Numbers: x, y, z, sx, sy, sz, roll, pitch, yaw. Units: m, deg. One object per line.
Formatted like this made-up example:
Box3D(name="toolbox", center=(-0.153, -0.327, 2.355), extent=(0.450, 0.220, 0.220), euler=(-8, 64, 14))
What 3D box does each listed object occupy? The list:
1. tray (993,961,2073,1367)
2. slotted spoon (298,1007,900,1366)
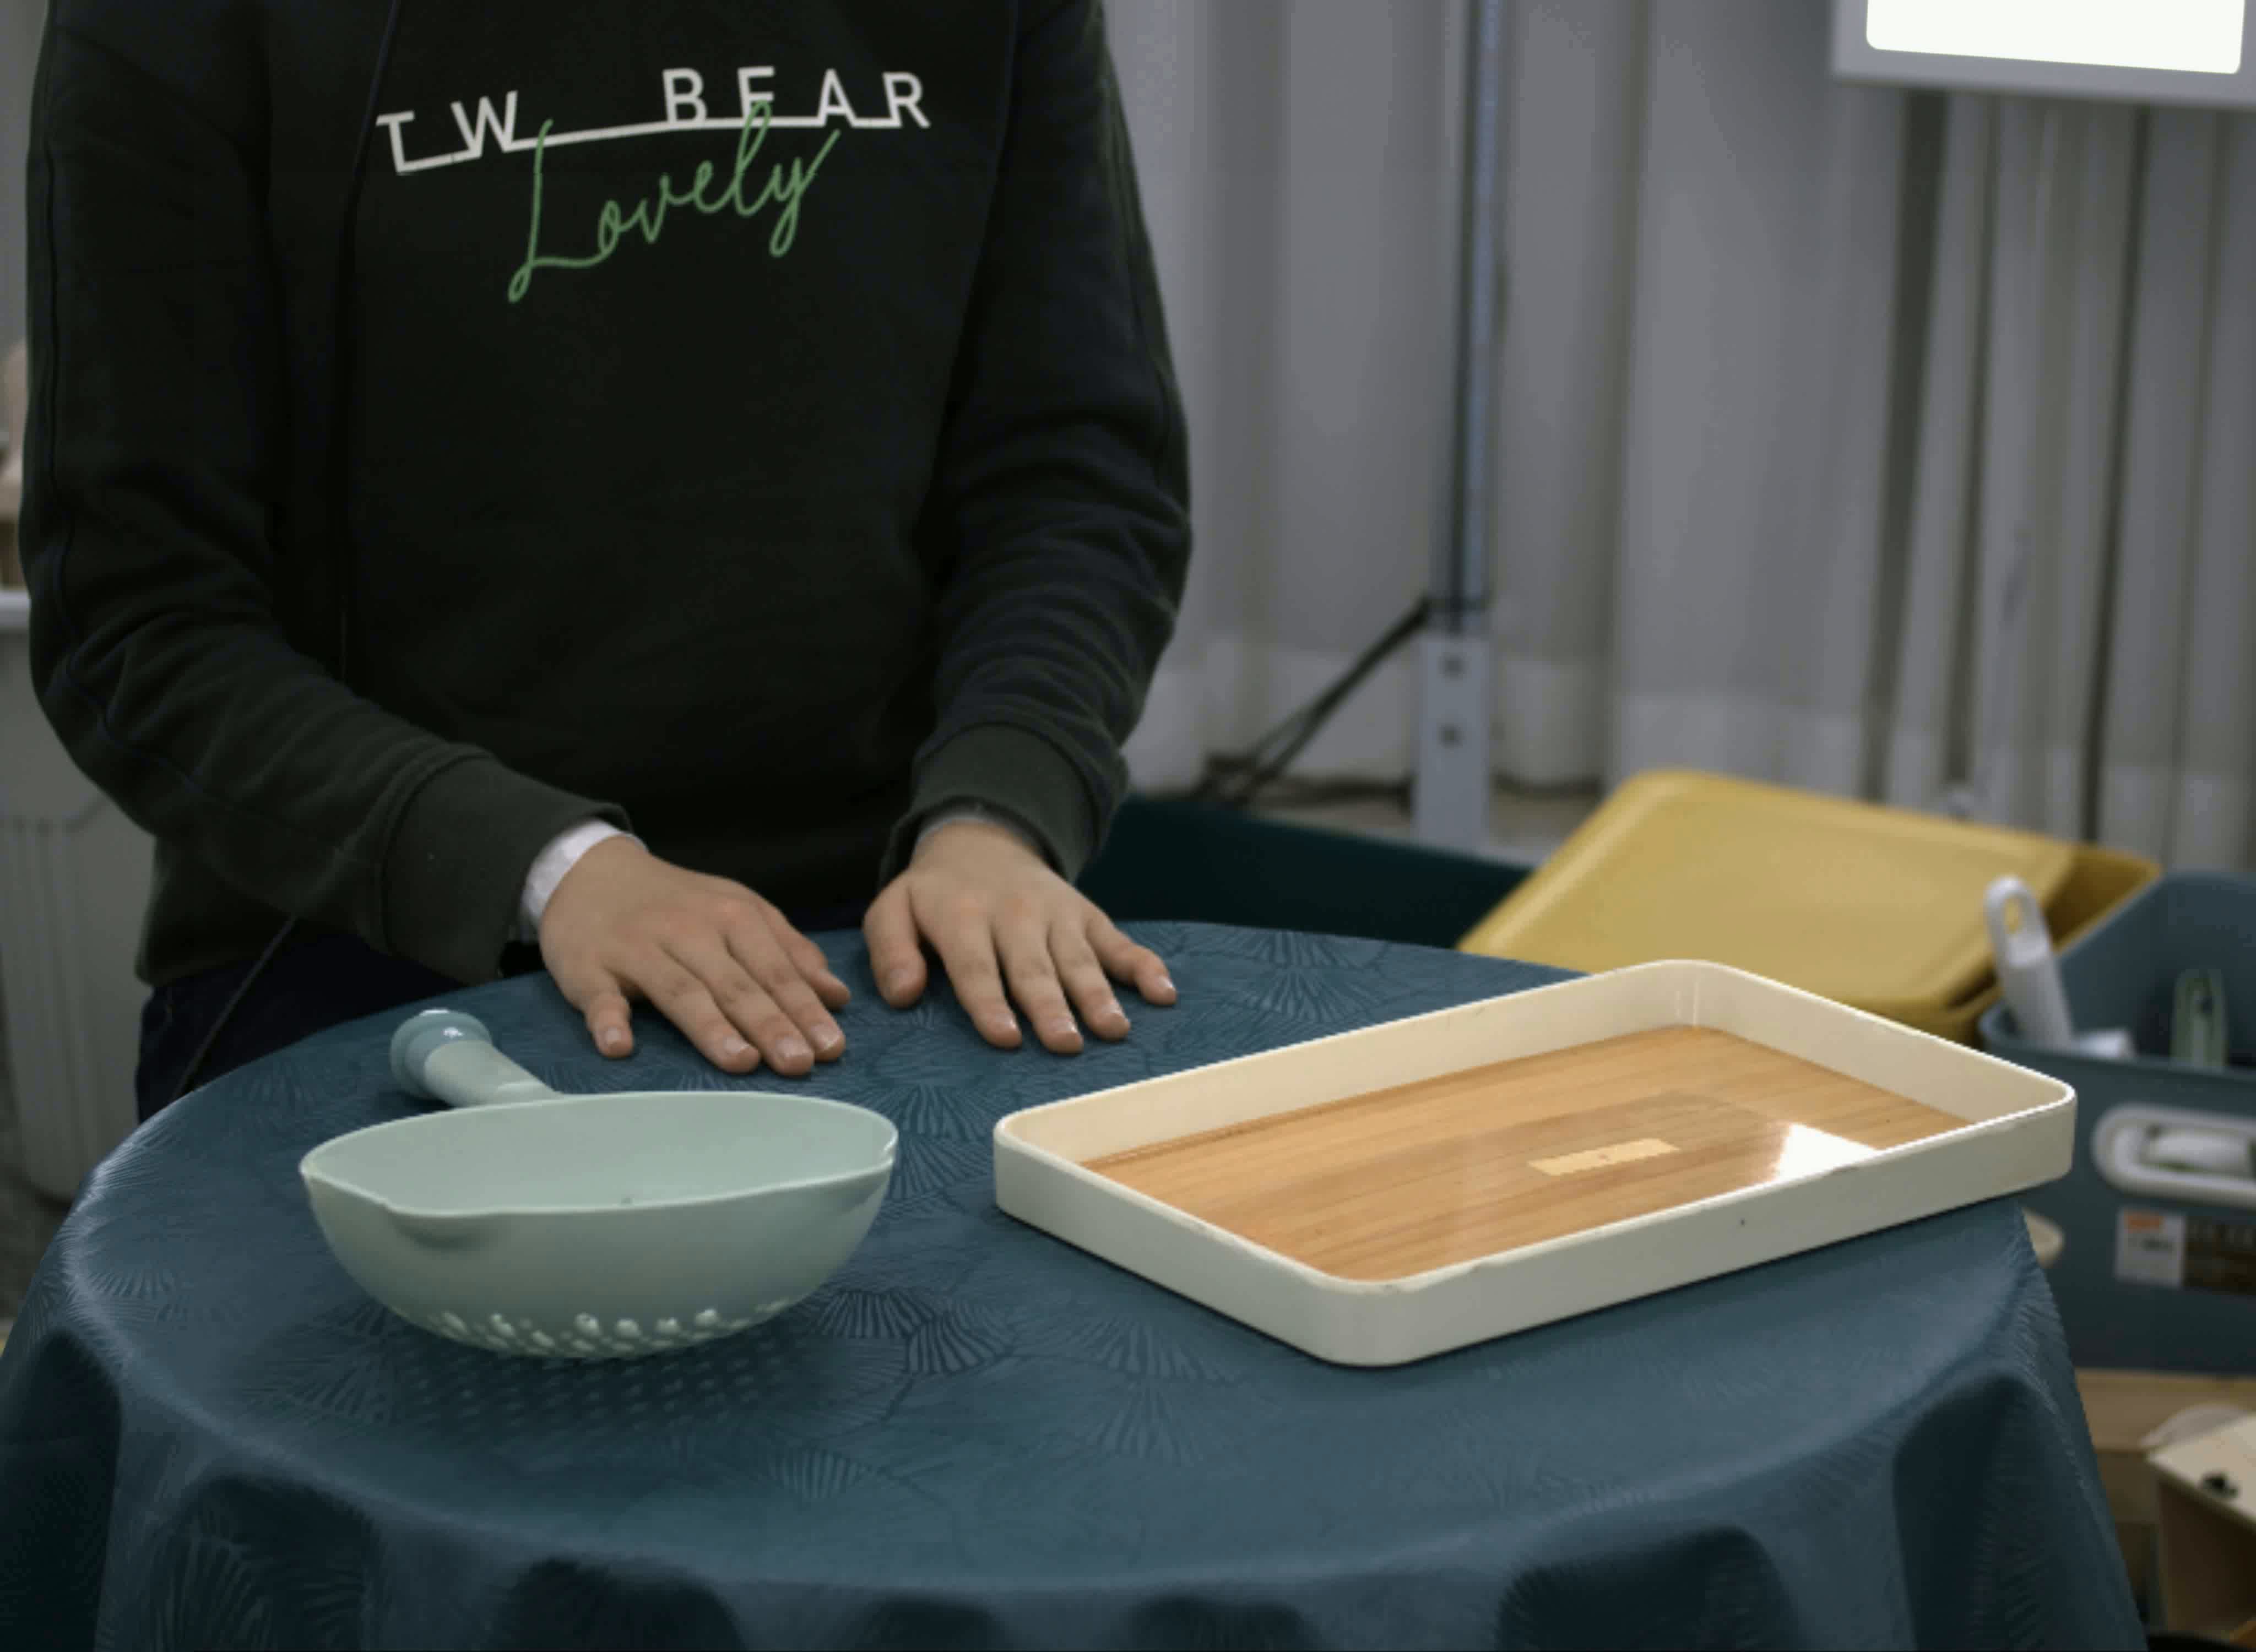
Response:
Box3D(name="tray", center=(0.127, 0.100, 1.629), extent=(0.302, 0.027, 0.189), euler=(-11, 20, -36))
Box3D(name="slotted spoon", center=(-0.178, 0.091, 1.575), extent=(0.170, 0.076, 0.355), euler=(-4, 17, -18))
